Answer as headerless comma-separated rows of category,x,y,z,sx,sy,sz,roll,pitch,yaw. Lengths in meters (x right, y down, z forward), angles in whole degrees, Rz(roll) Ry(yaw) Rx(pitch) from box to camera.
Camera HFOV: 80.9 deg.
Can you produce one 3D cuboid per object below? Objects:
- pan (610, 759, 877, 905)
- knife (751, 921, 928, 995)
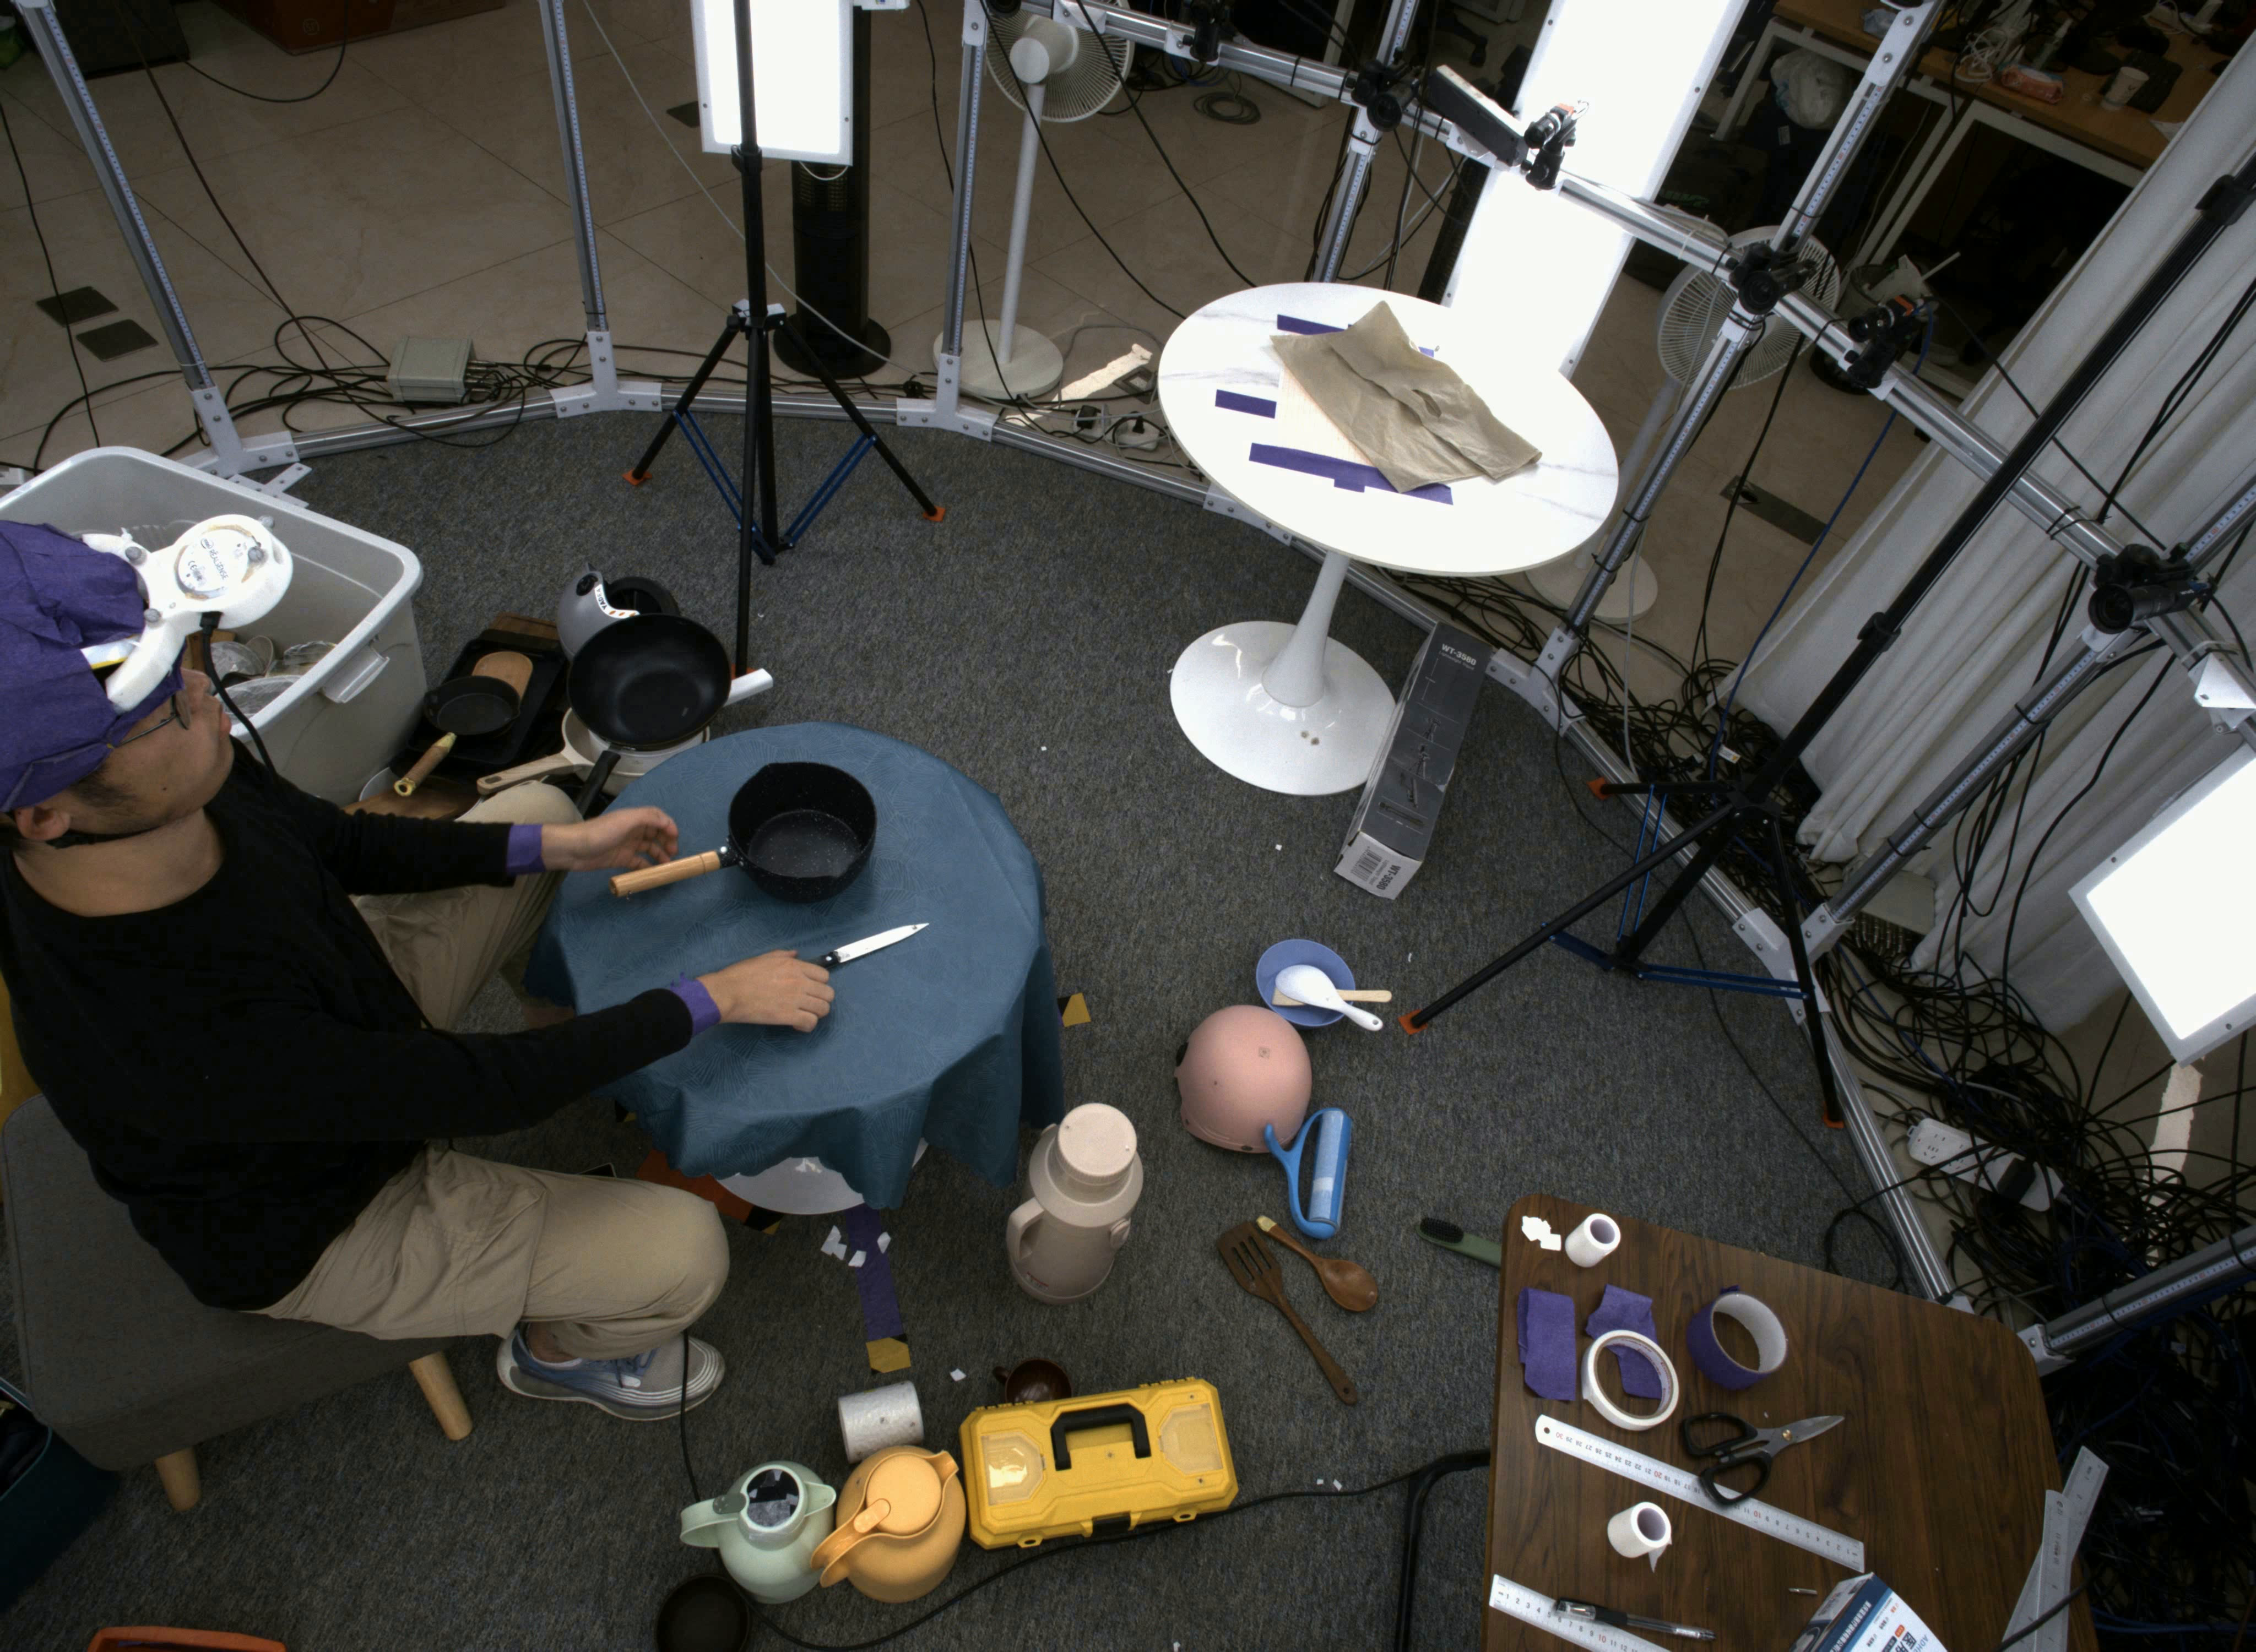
pan,-0.476,0.036,1.612,0.344,0.110,0.202,-25,63,-30
knife,-0.353,0.159,1.614,0.239,0.016,0.024,-21,59,-30
